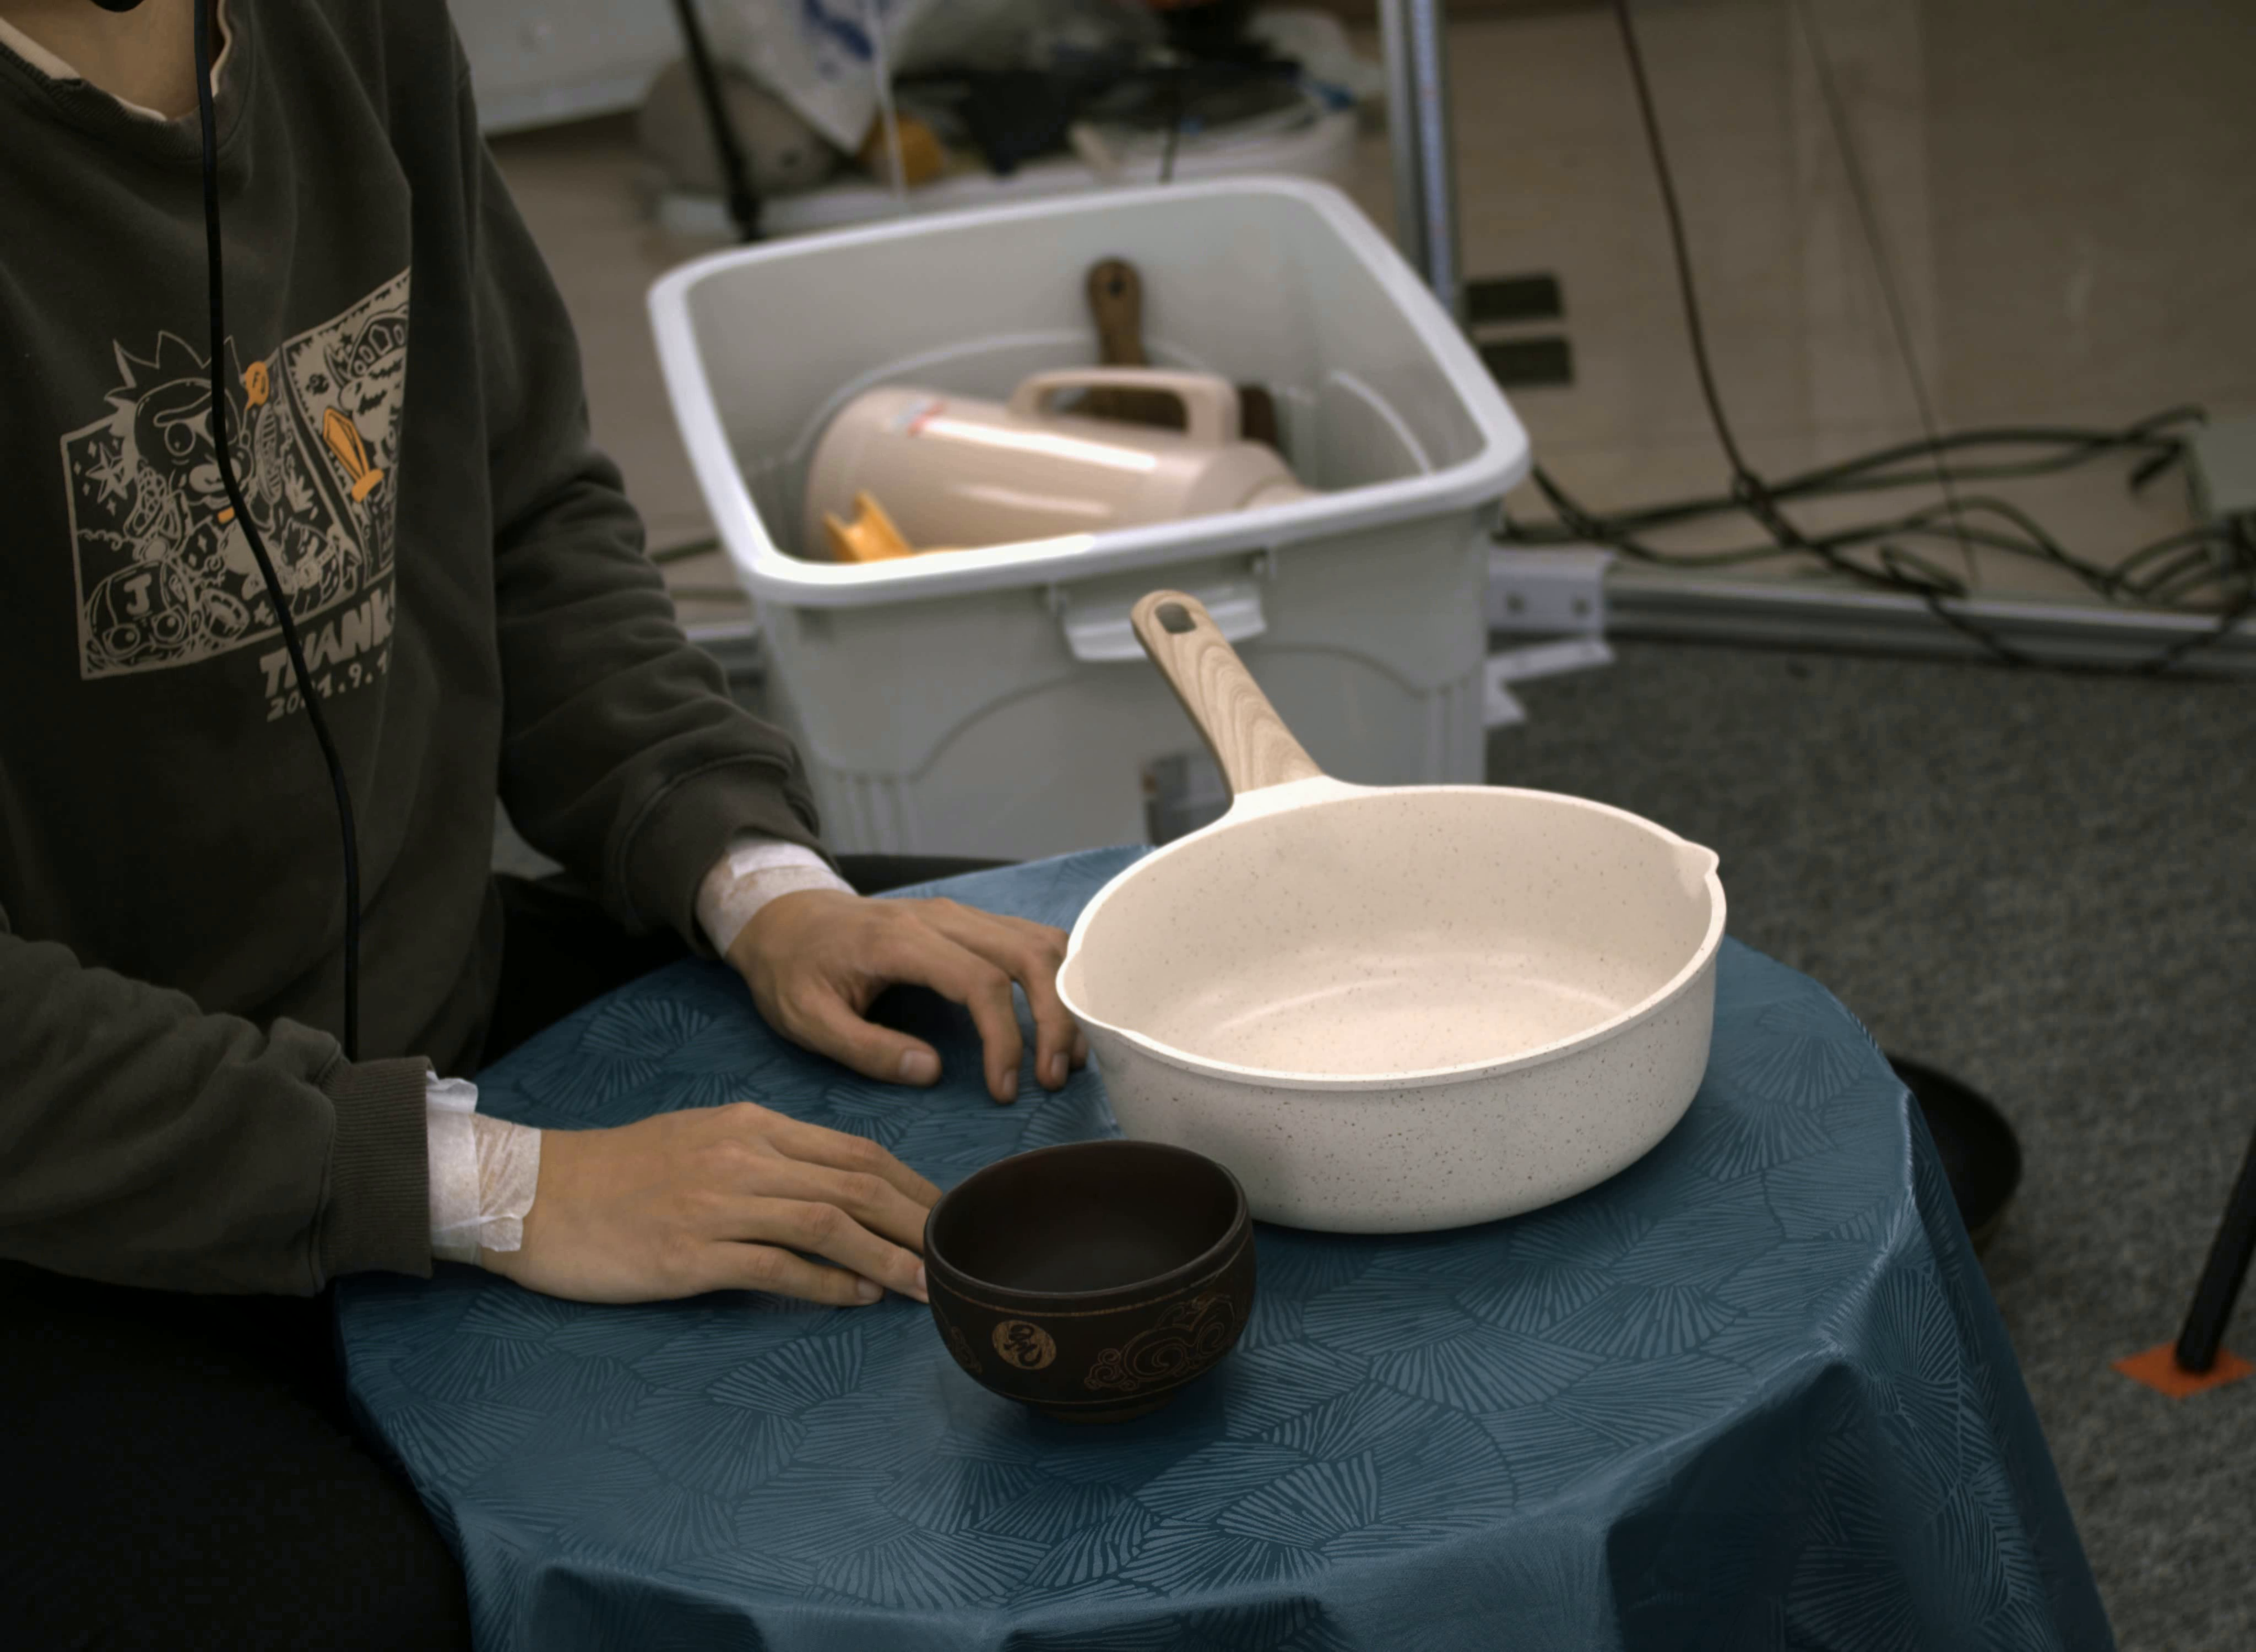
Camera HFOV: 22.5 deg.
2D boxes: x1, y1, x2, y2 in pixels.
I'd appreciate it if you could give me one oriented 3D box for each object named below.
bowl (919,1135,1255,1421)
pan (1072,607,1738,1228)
[{"bbox_3d":[-0.012,0.166,2.005,0.118,0.071,0.116,-7,26,3],"label":"bowl"},{"bbox_3d":[0.083,0.031,2.240,0.262,0.103,0.429,-14,26,-12],"label":"pan"}]
